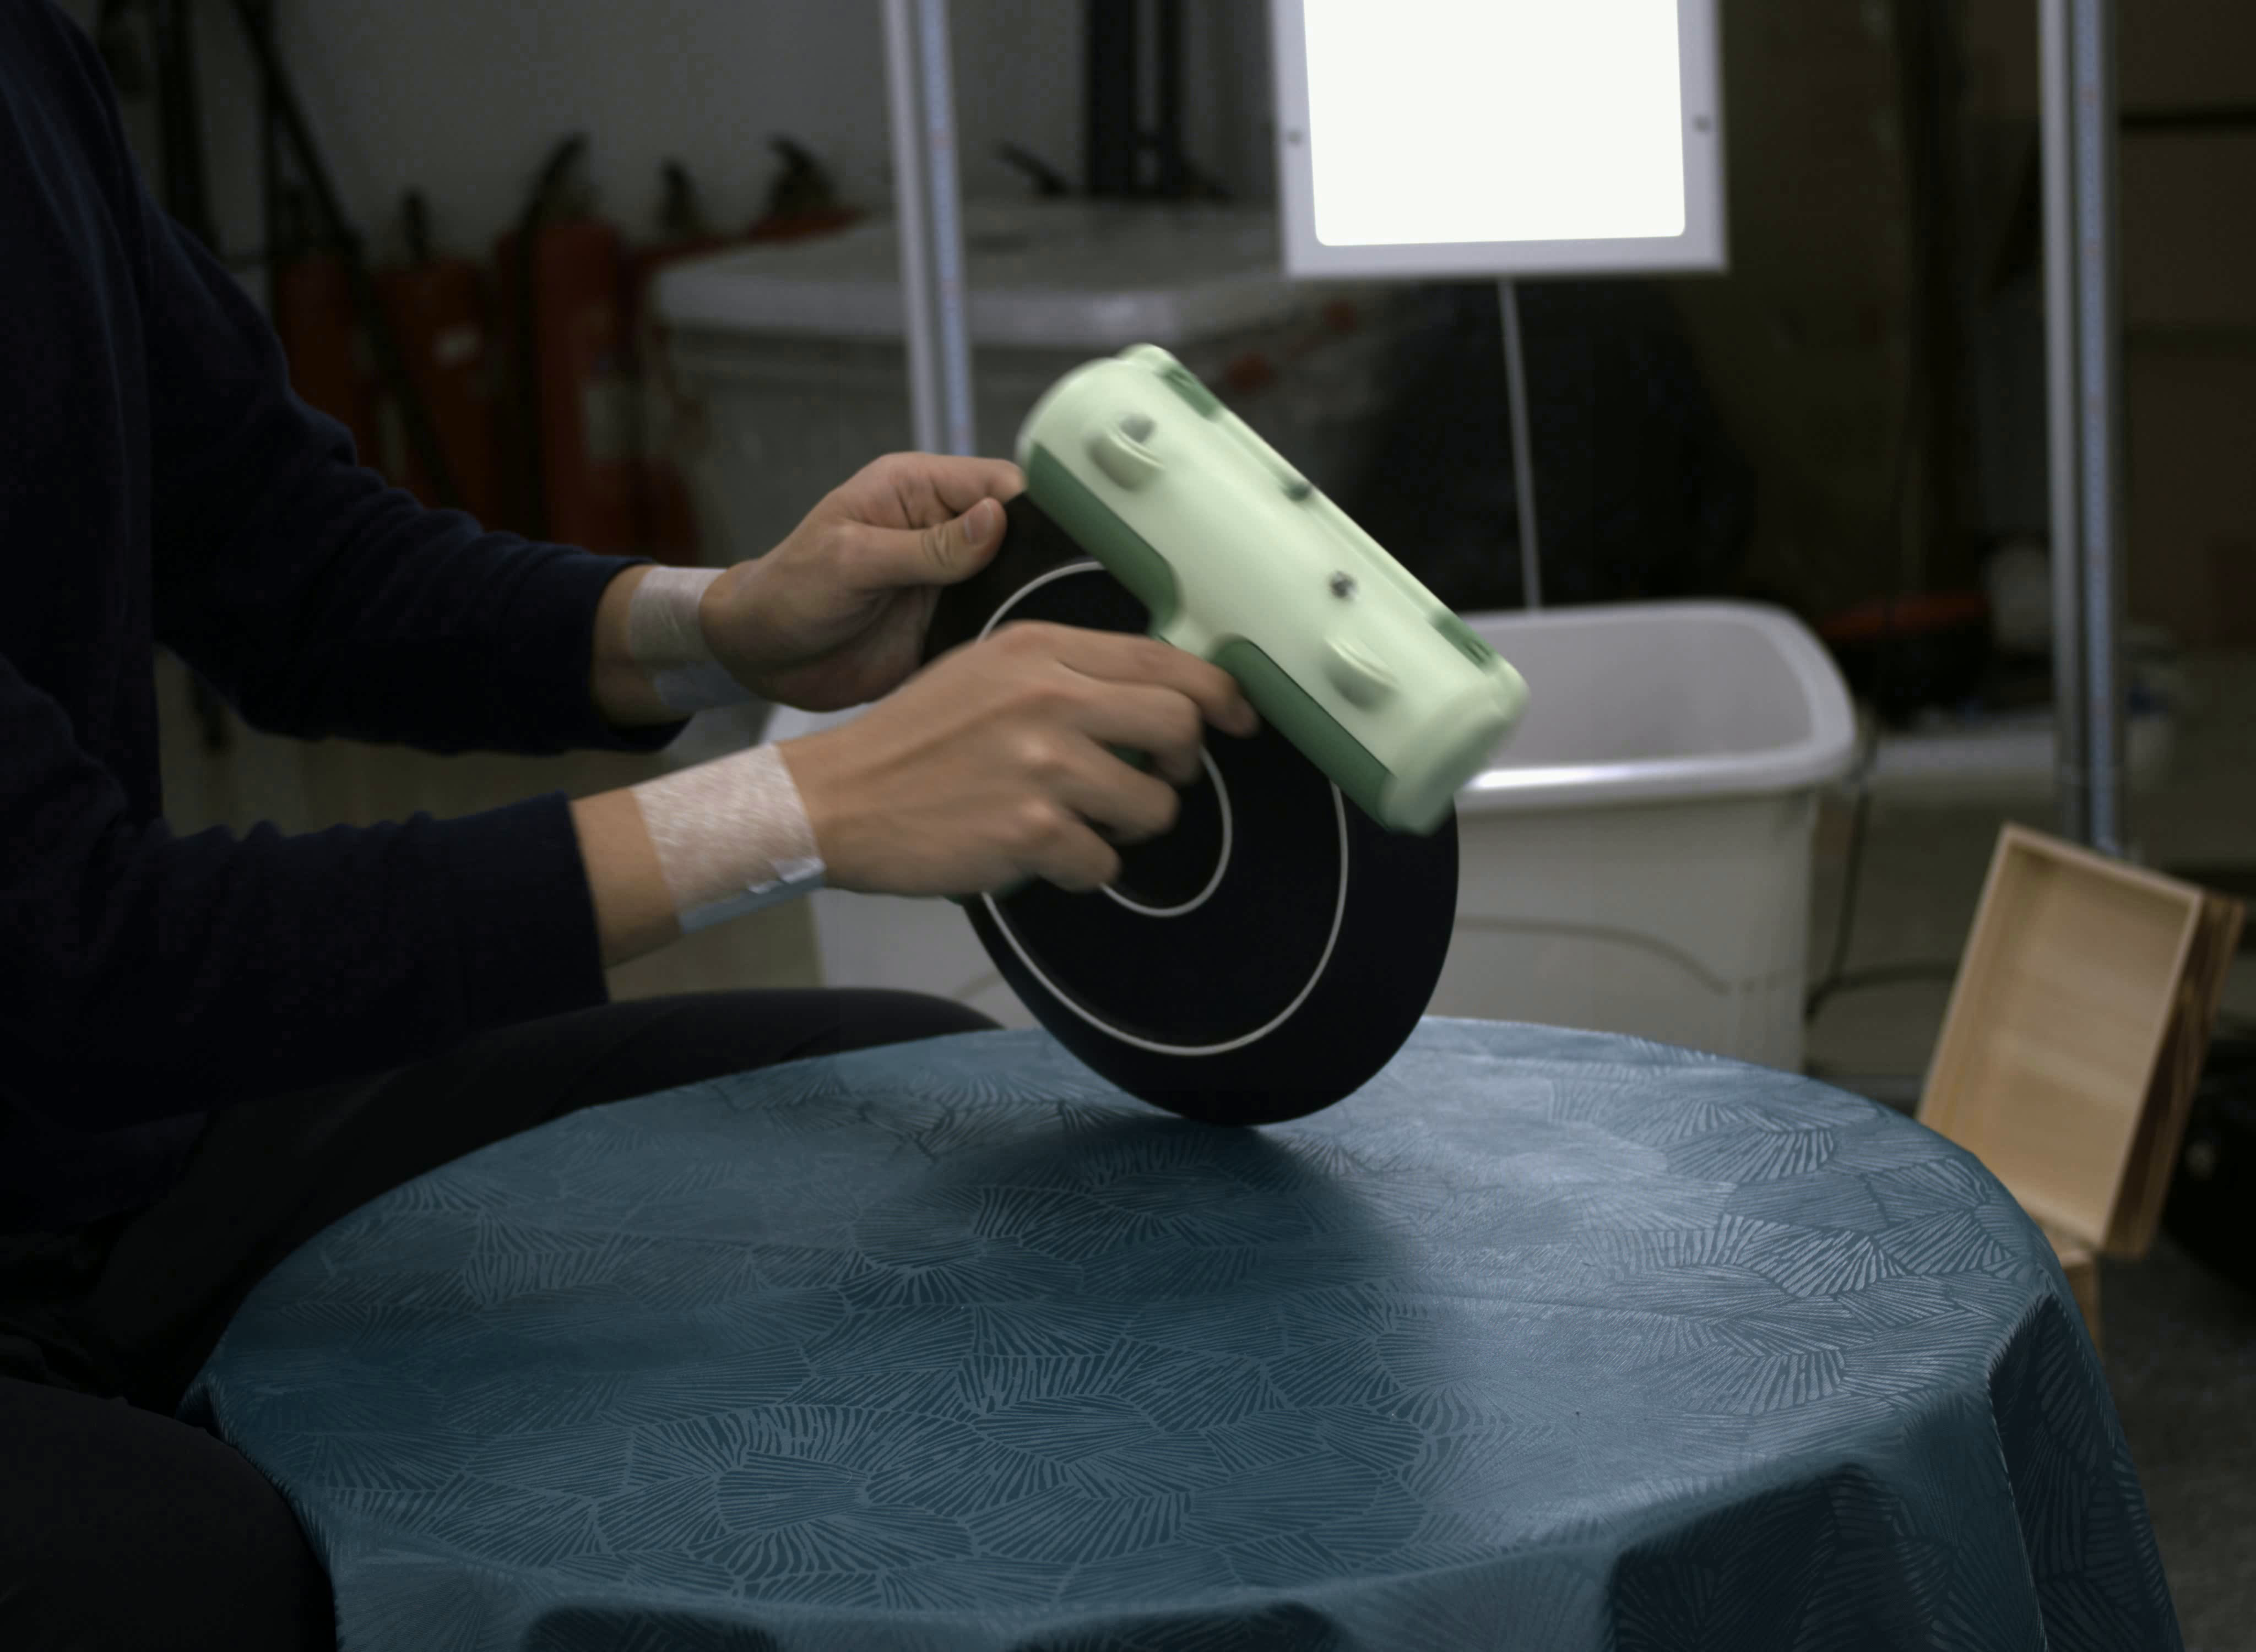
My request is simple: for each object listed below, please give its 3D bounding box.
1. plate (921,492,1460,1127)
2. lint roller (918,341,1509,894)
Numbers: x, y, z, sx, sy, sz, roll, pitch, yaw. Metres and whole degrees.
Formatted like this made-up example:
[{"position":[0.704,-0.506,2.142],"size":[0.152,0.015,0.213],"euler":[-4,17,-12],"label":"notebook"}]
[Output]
[{"position":[0.013,-0.009,1.929],"size":[0.249,0.245,0.023],"euler":[8,20,41],"label":"plate"},{"position":[-0.003,-0.052,1.823],"size":[0.181,0.082,0.201],"euler":[-40,64,-15],"label":"lint roller"}]
